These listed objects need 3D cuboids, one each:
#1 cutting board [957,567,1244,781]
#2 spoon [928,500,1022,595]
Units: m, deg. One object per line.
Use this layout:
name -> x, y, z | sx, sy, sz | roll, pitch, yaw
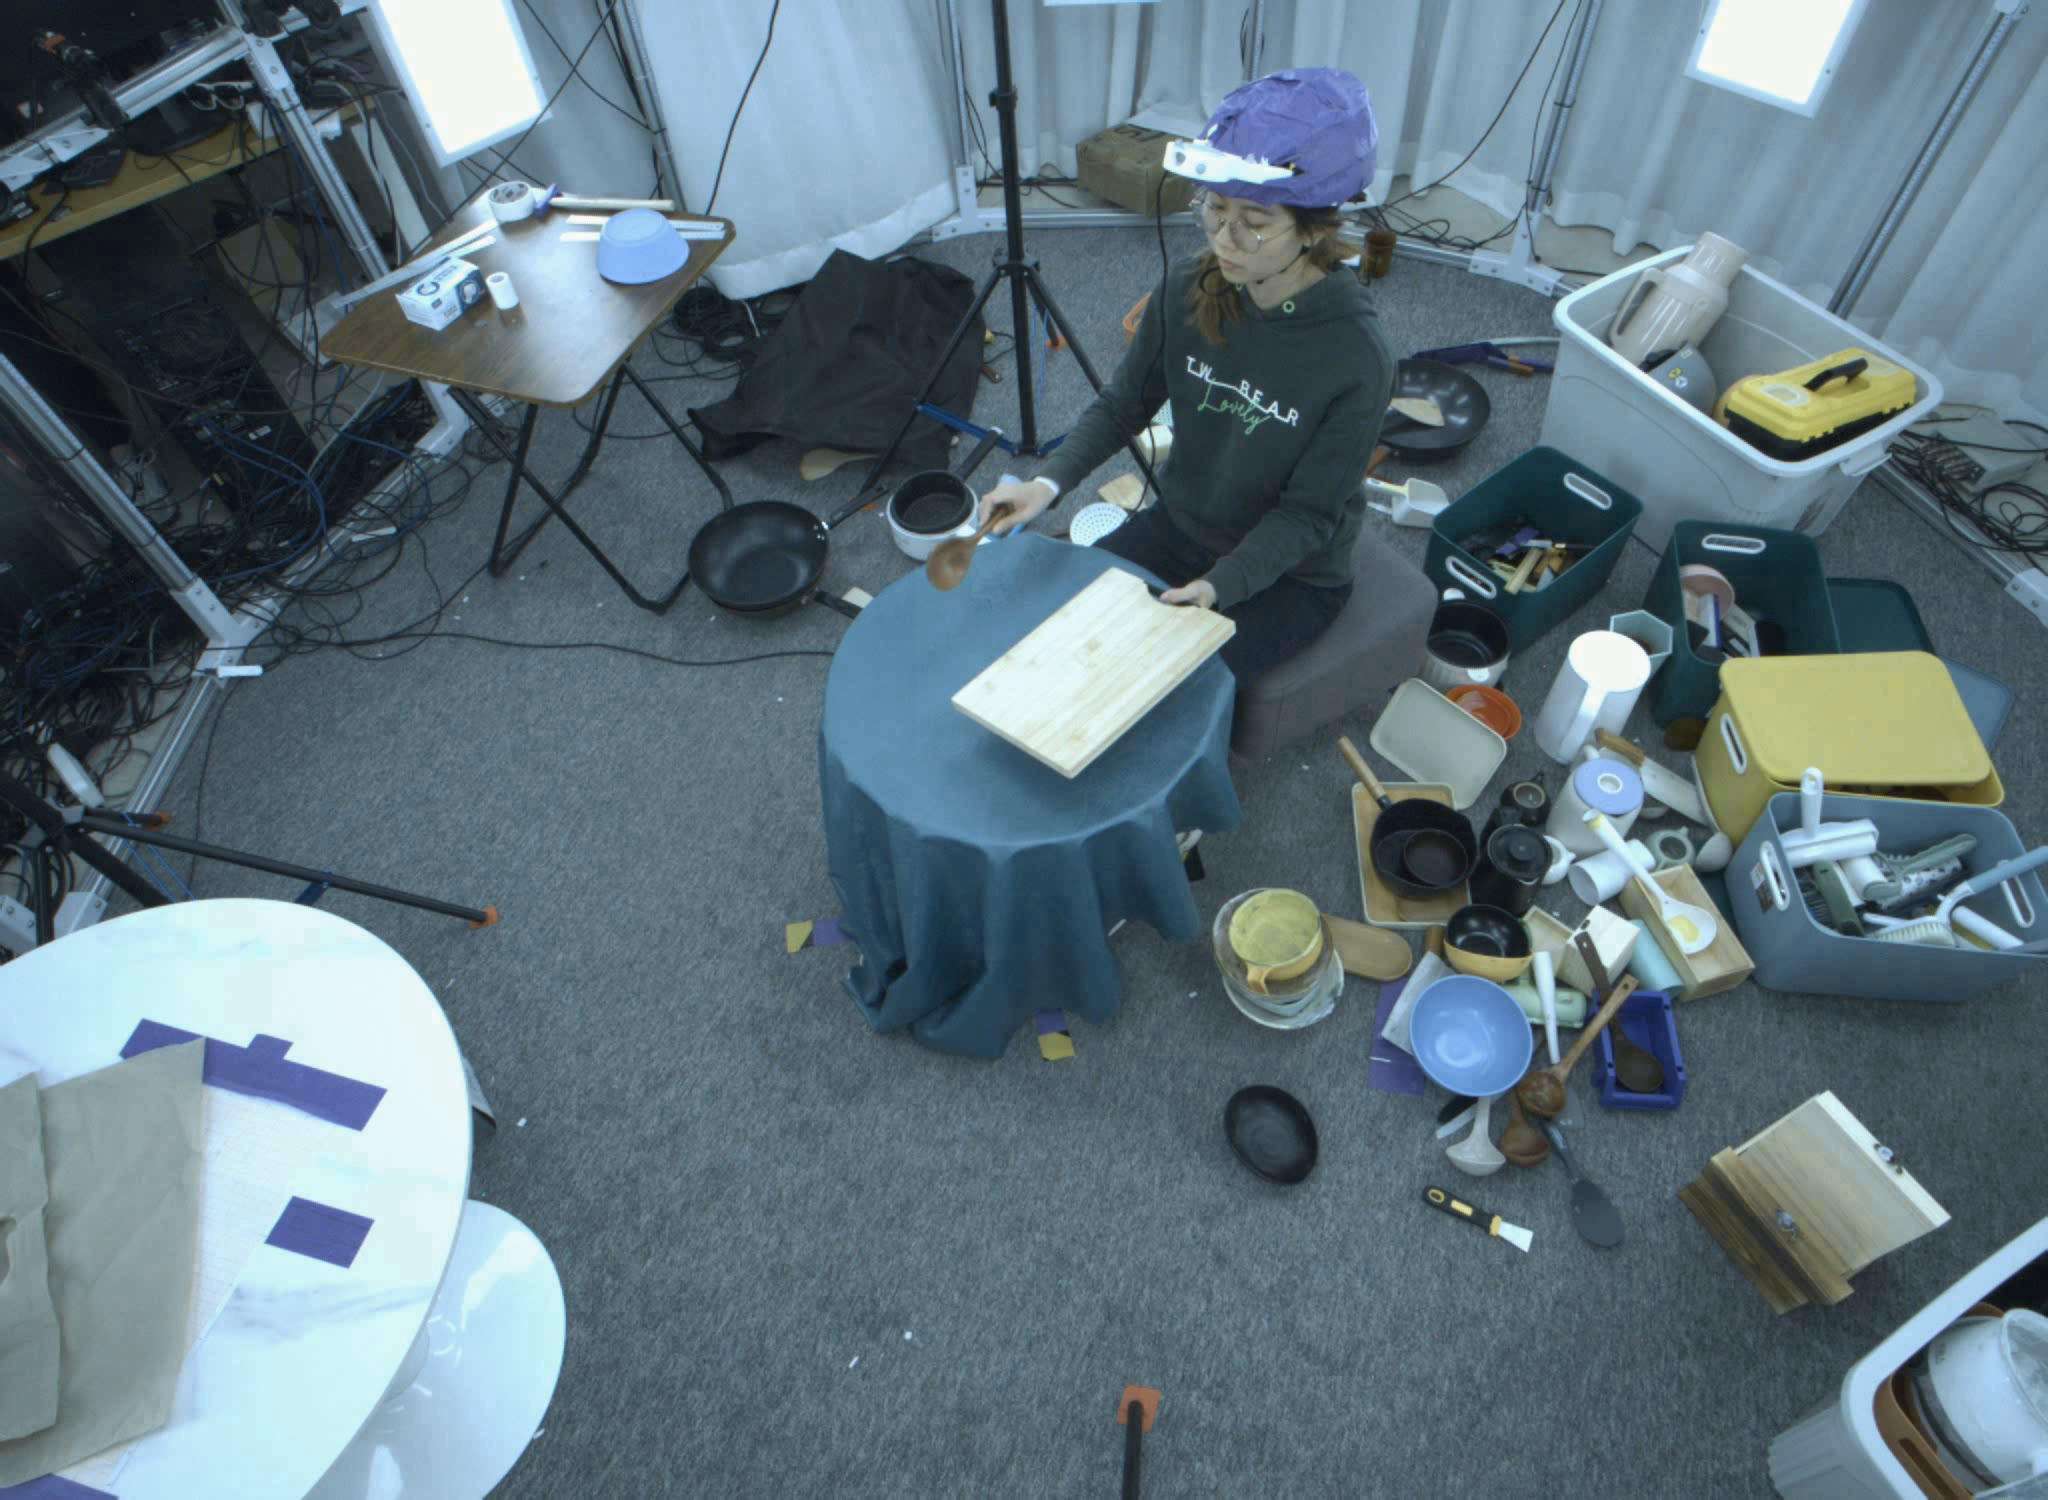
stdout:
cutting board -> 0.106, -0.118, 1.741 | 0.245, 0.024, 0.351 | 31, 62, 34
spoon -> -0.074, -0.315, 1.862 | 0.017, 0.077, 0.217 | 15, 52, 43
